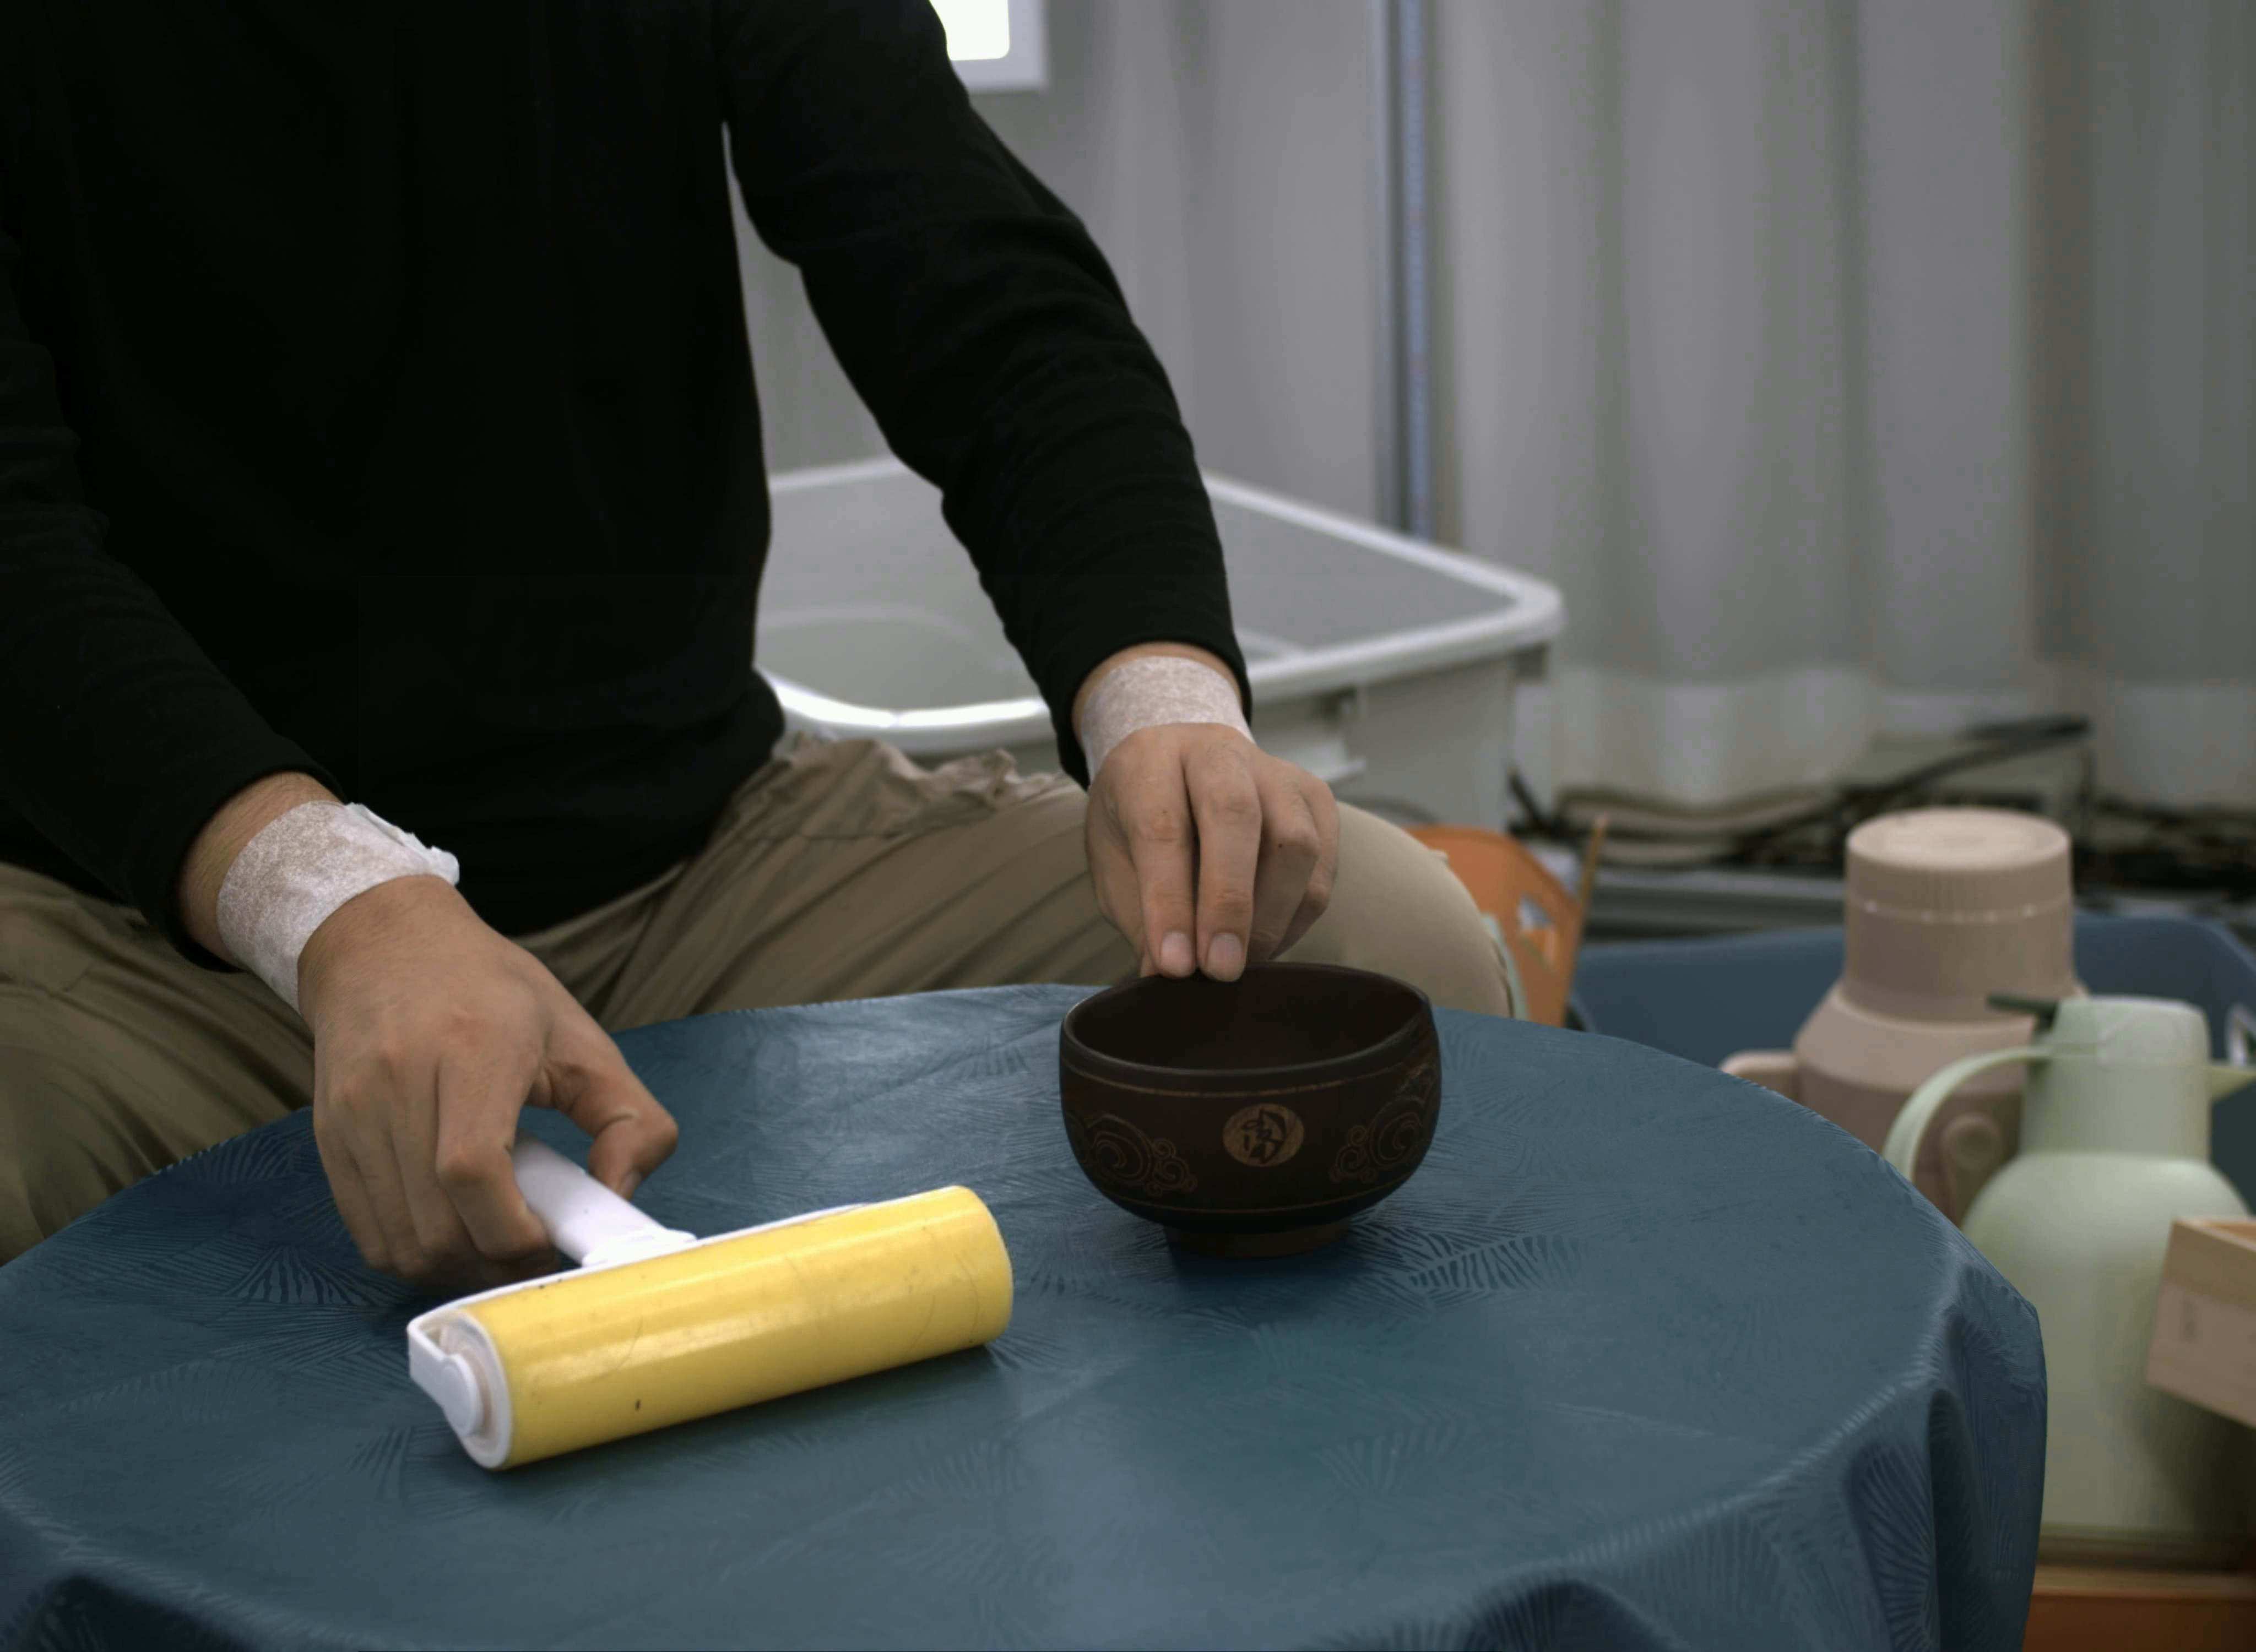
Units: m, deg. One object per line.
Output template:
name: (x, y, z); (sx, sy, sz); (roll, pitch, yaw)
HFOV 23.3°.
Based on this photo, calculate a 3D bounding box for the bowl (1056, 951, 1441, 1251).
bowl: (0.037, 0.087, 1.665); (0.117, 0.069, 0.119); (-2, 15, 0)

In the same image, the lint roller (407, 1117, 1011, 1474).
lint roller: (-0.153, 0.115, 1.599); (0.173, 0.051, 0.194); (-12, 31, -32)
